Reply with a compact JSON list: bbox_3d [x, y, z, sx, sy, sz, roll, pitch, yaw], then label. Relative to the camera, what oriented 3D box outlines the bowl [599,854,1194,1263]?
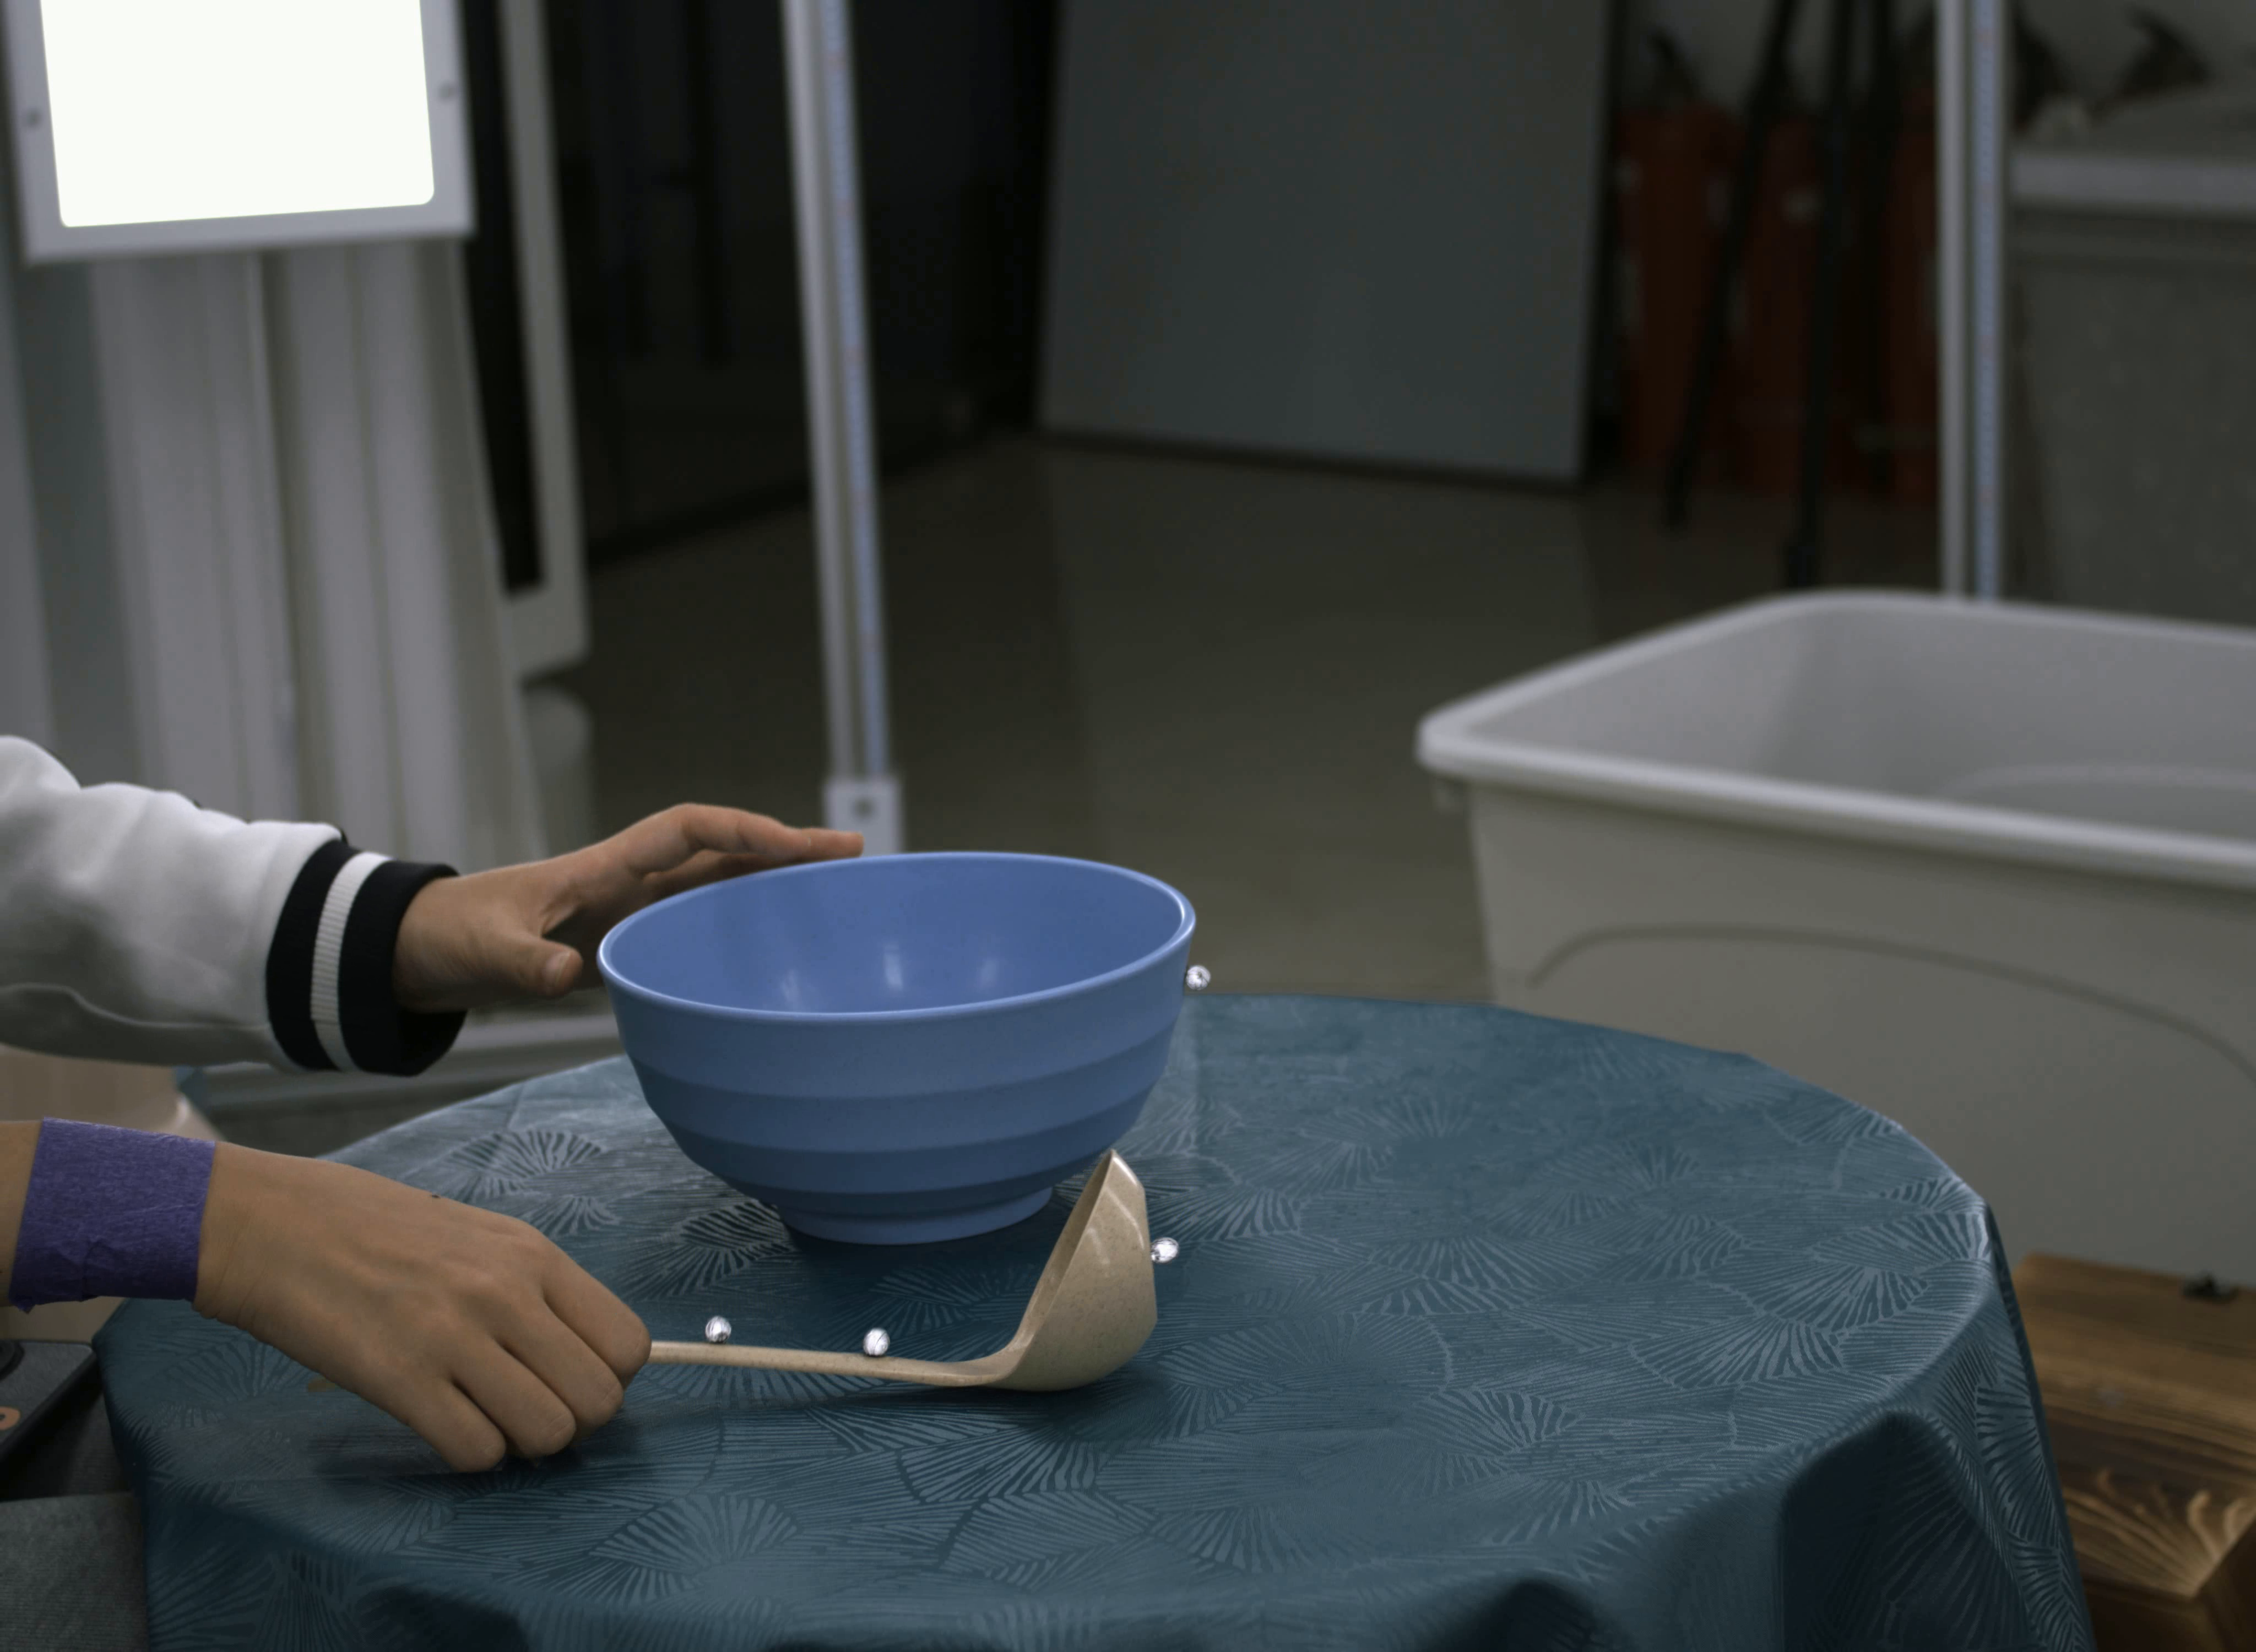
[{"bbox_3d":[-0.072,0.082,1.765,0.194,0.096,0.197,-5,15,0],"label":"bowl"}]

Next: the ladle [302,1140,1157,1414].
[{"bbox_3d":[-0.117,0.132,1.586,0.251,0.074,0.072,-1,6,-1],"label":"ladle"}]
